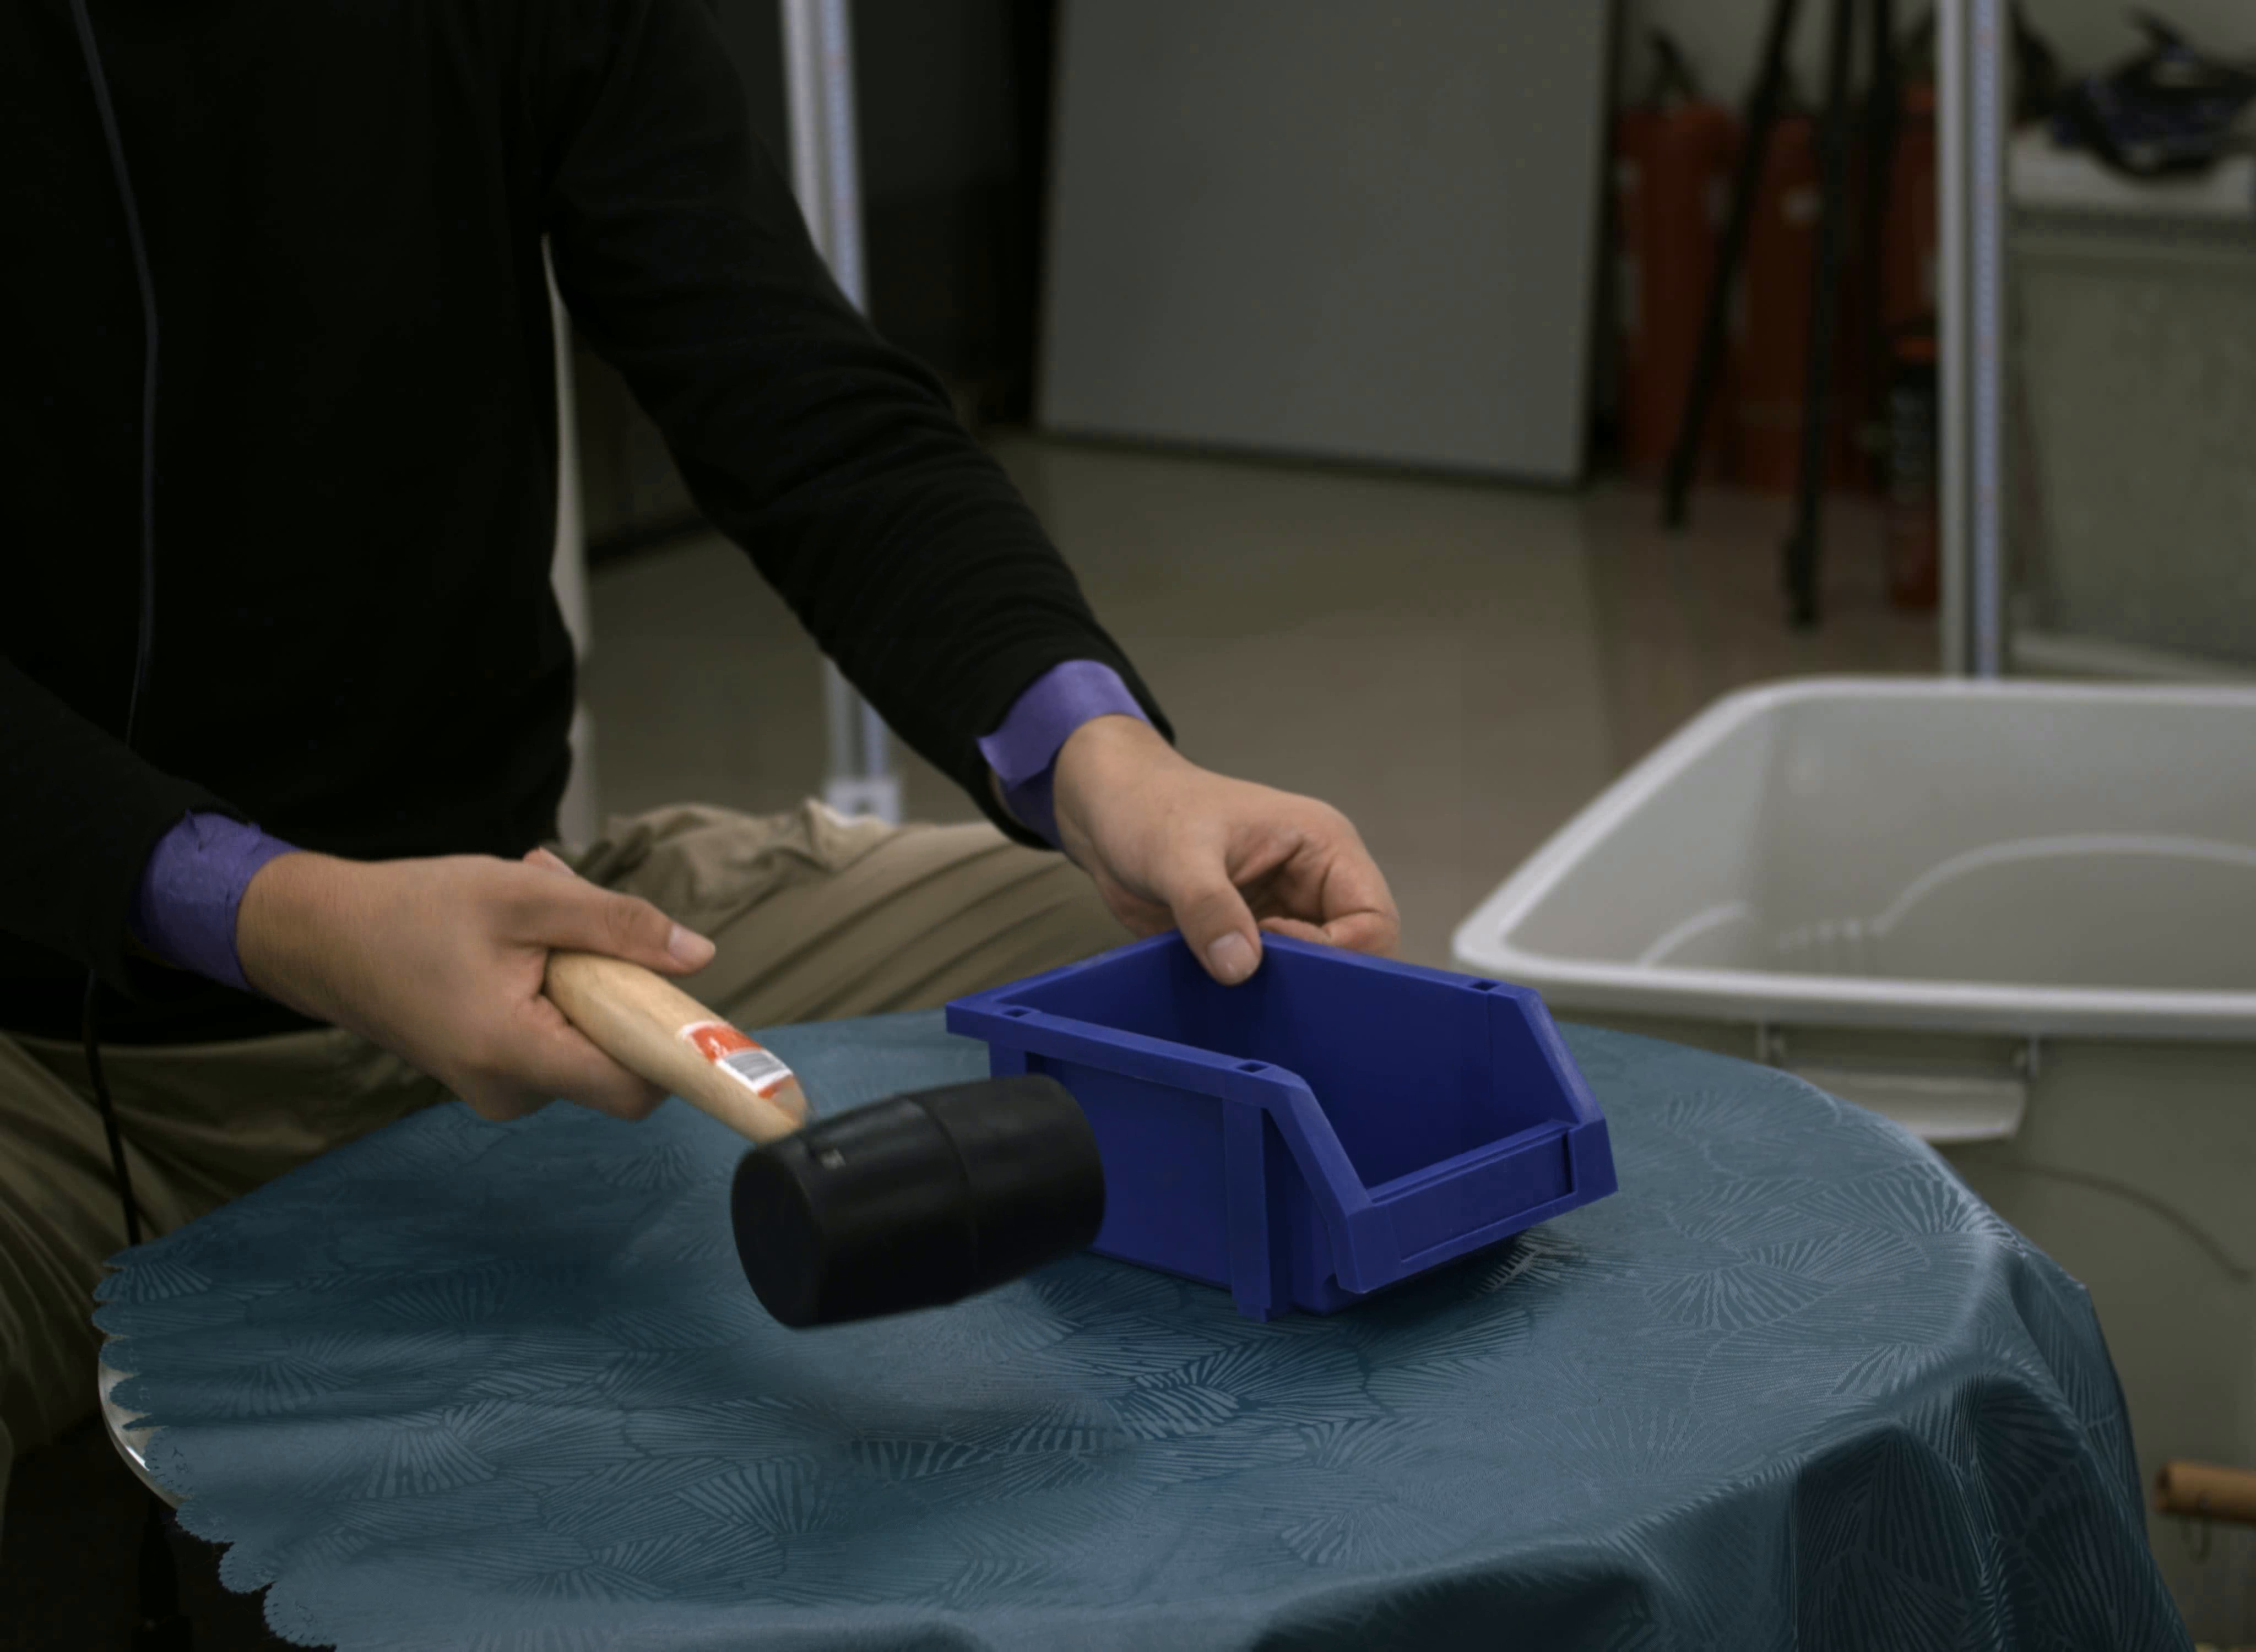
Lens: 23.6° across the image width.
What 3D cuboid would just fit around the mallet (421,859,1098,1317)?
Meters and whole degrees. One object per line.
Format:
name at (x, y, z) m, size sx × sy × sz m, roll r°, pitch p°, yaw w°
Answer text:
mallet at (-0.135, 0.062, 1.673) m, size 0.099 × 0.065 × 0.343 m, roll -8°, pitch 23°, yaw -30°

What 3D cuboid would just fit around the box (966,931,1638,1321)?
box at (0.056, 0.094, 1.698) m, size 0.122 × 0.083 × 0.181 m, roll -16°, pitch 15°, yaw -40°
